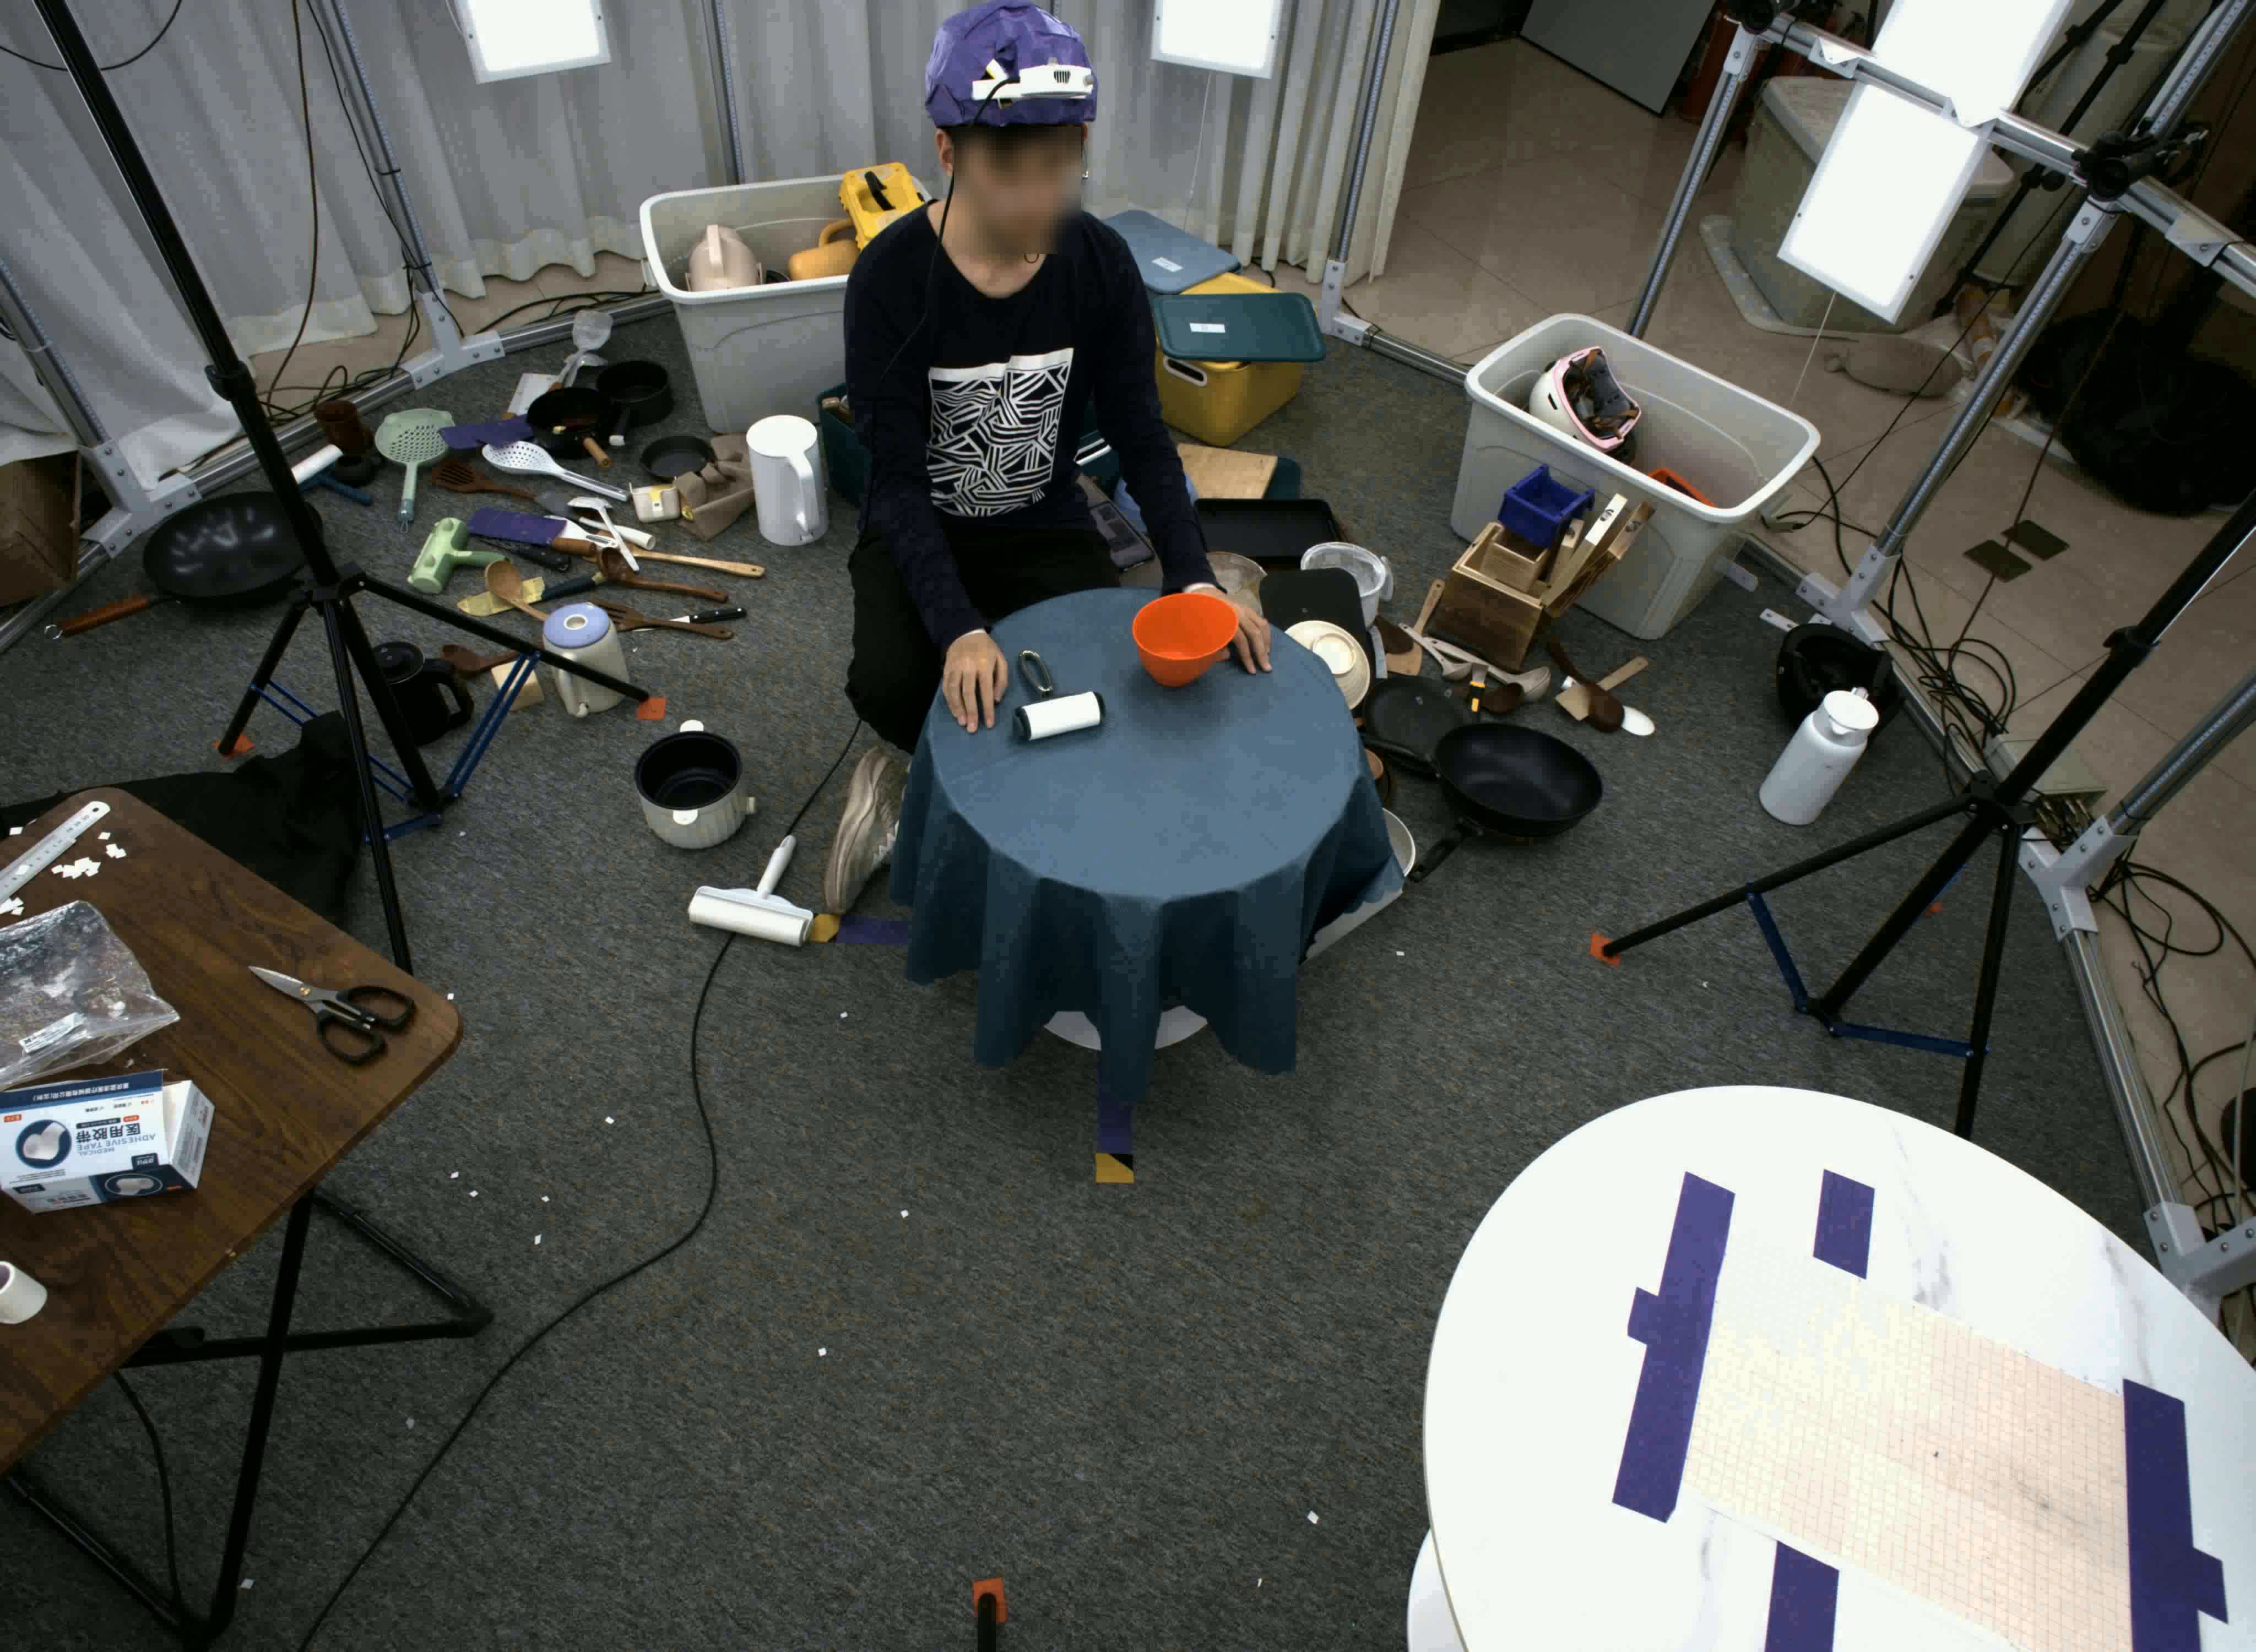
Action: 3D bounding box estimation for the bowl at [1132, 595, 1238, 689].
[{"bbox_3d":[0.077,-0.253,1.829,0.148,0.102,0.152,1,47,-1],"label":"bowl"}]

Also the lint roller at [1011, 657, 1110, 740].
[{"bbox_3d":[-0.118,-0.198,1.806,0.134,0.047,0.184,-14,48,-16],"label":"lint roller"}]
